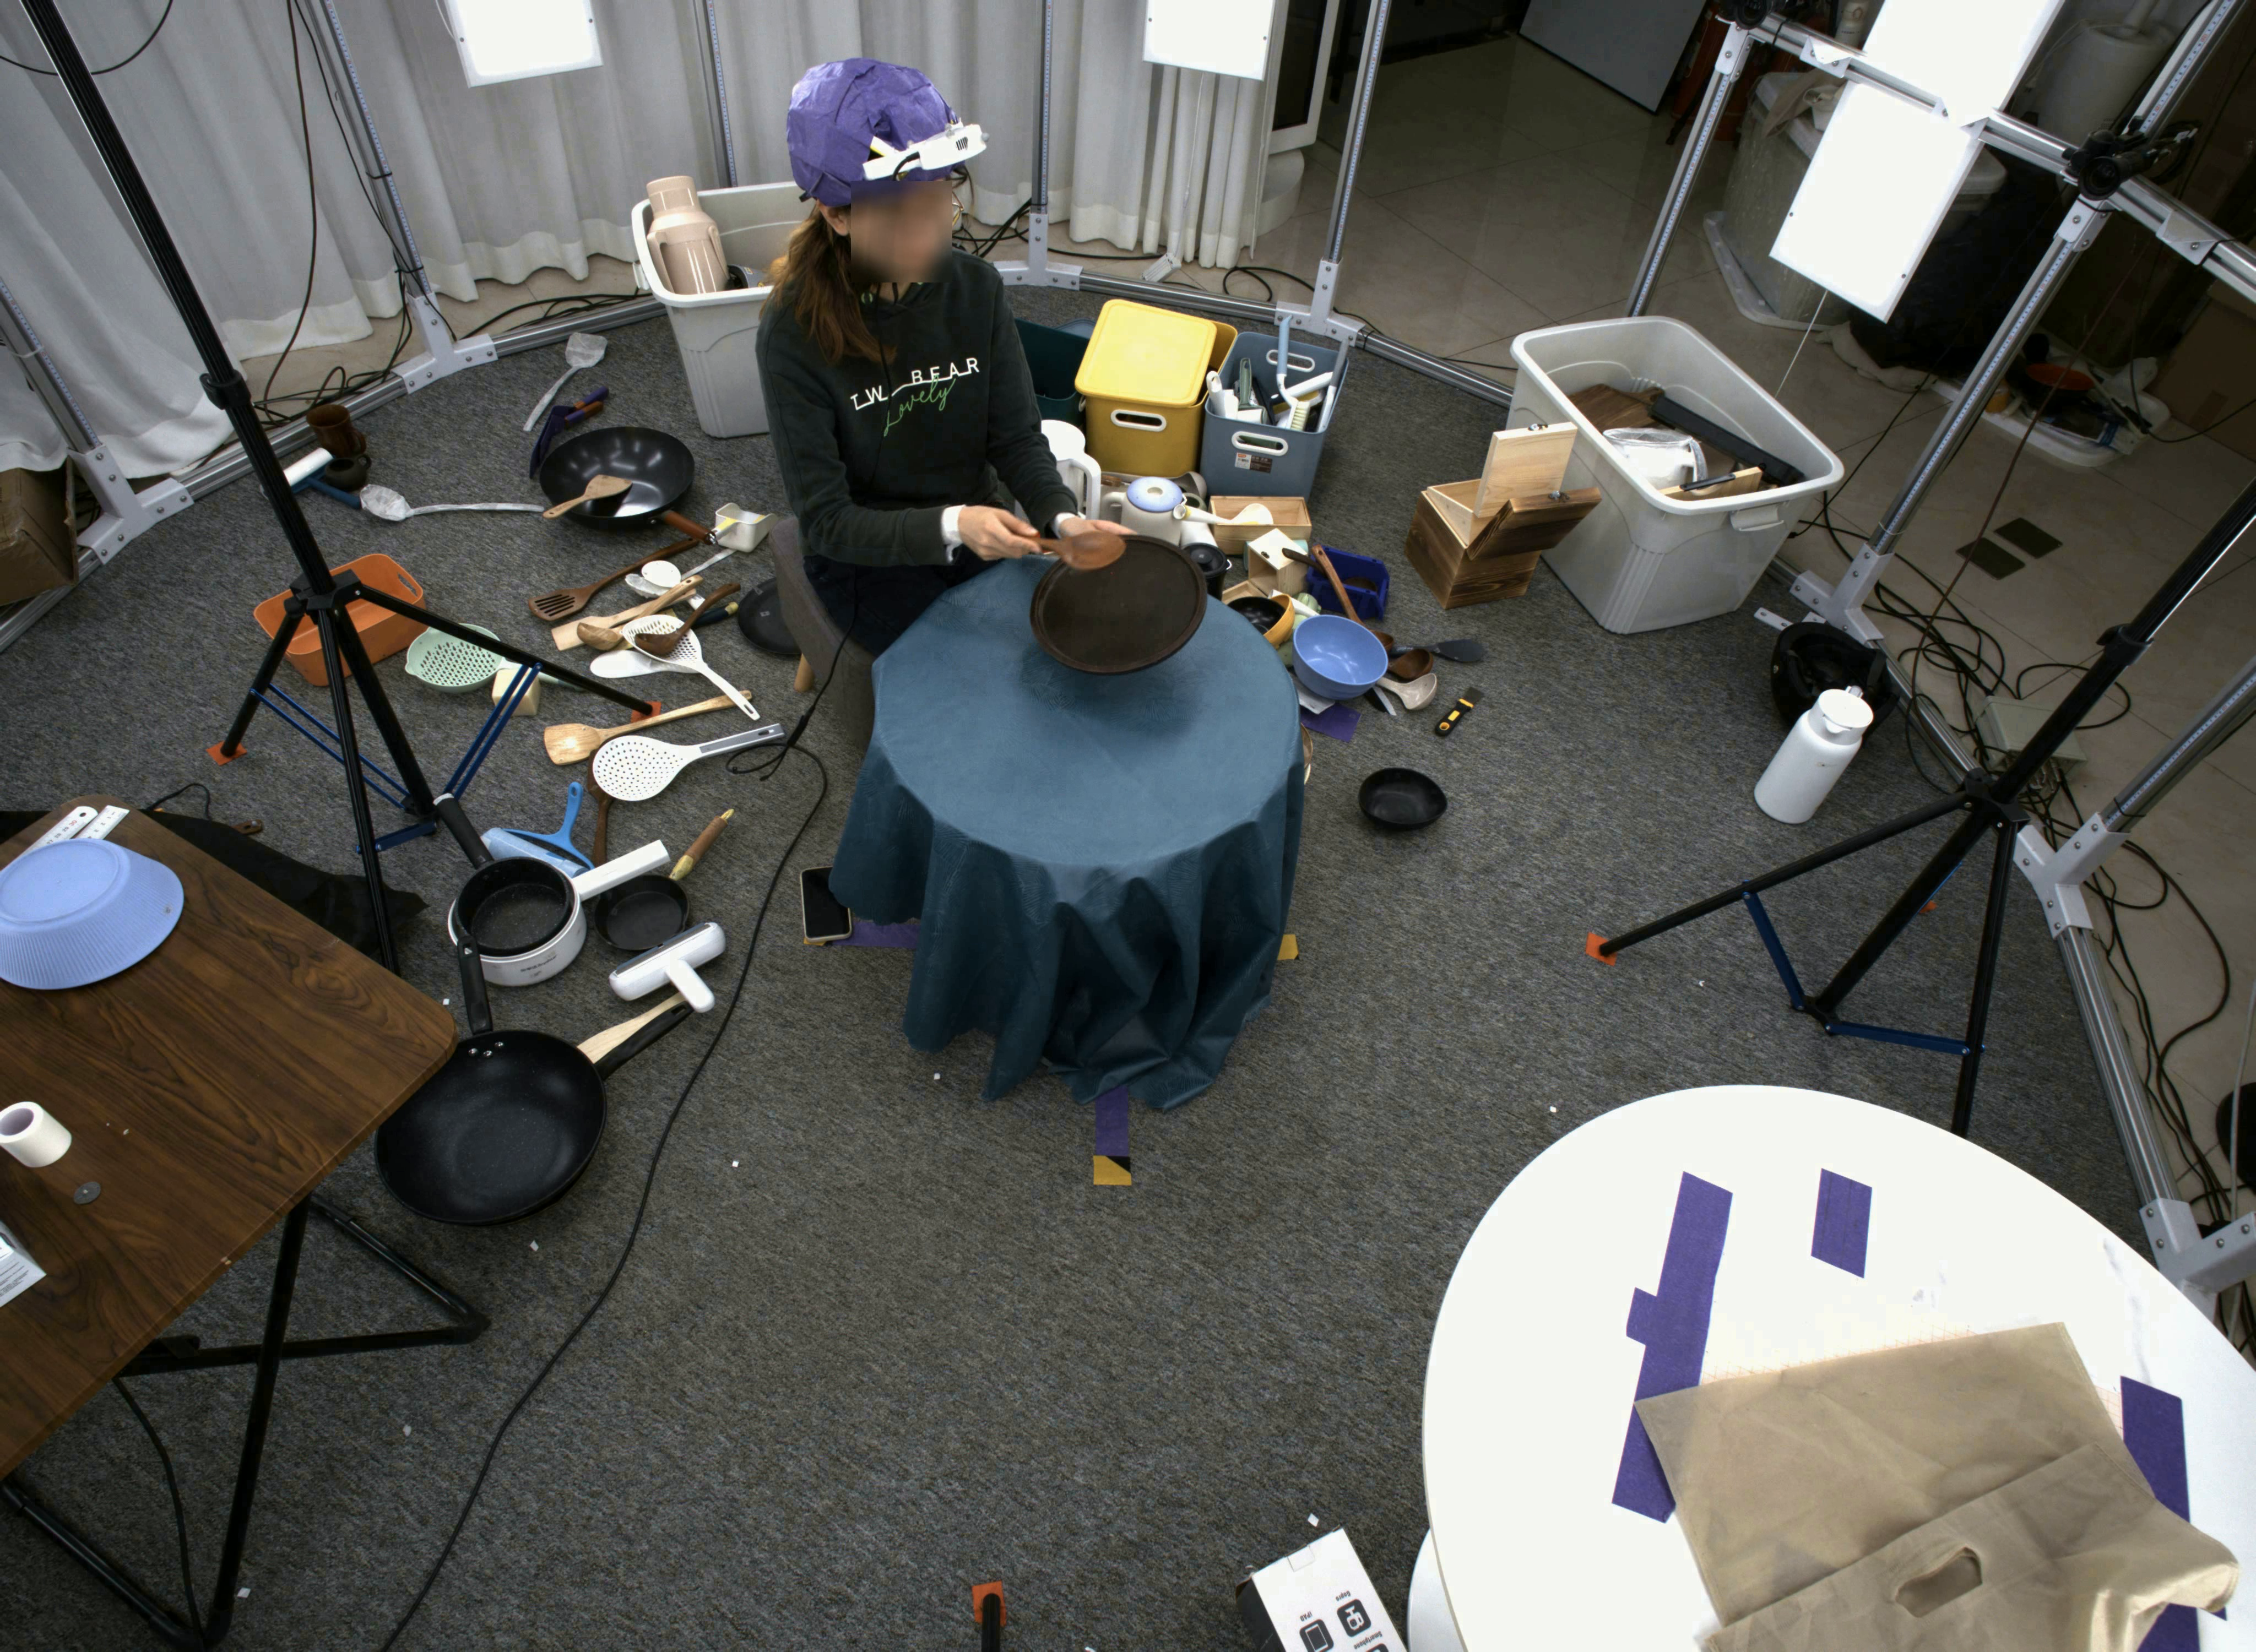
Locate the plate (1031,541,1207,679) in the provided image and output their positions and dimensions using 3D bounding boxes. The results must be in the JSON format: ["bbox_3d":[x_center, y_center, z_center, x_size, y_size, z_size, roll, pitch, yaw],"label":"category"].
[{"bbox_3d":[-0.013,-0.309,1.826,0.255,0.028,0.261,-5,56,7],"label":"plate"}]

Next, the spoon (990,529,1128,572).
[{"bbox_3d":[-0.096,-0.381,1.755,0.217,0.017,0.077,14,59,27],"label":"spoon"}]
